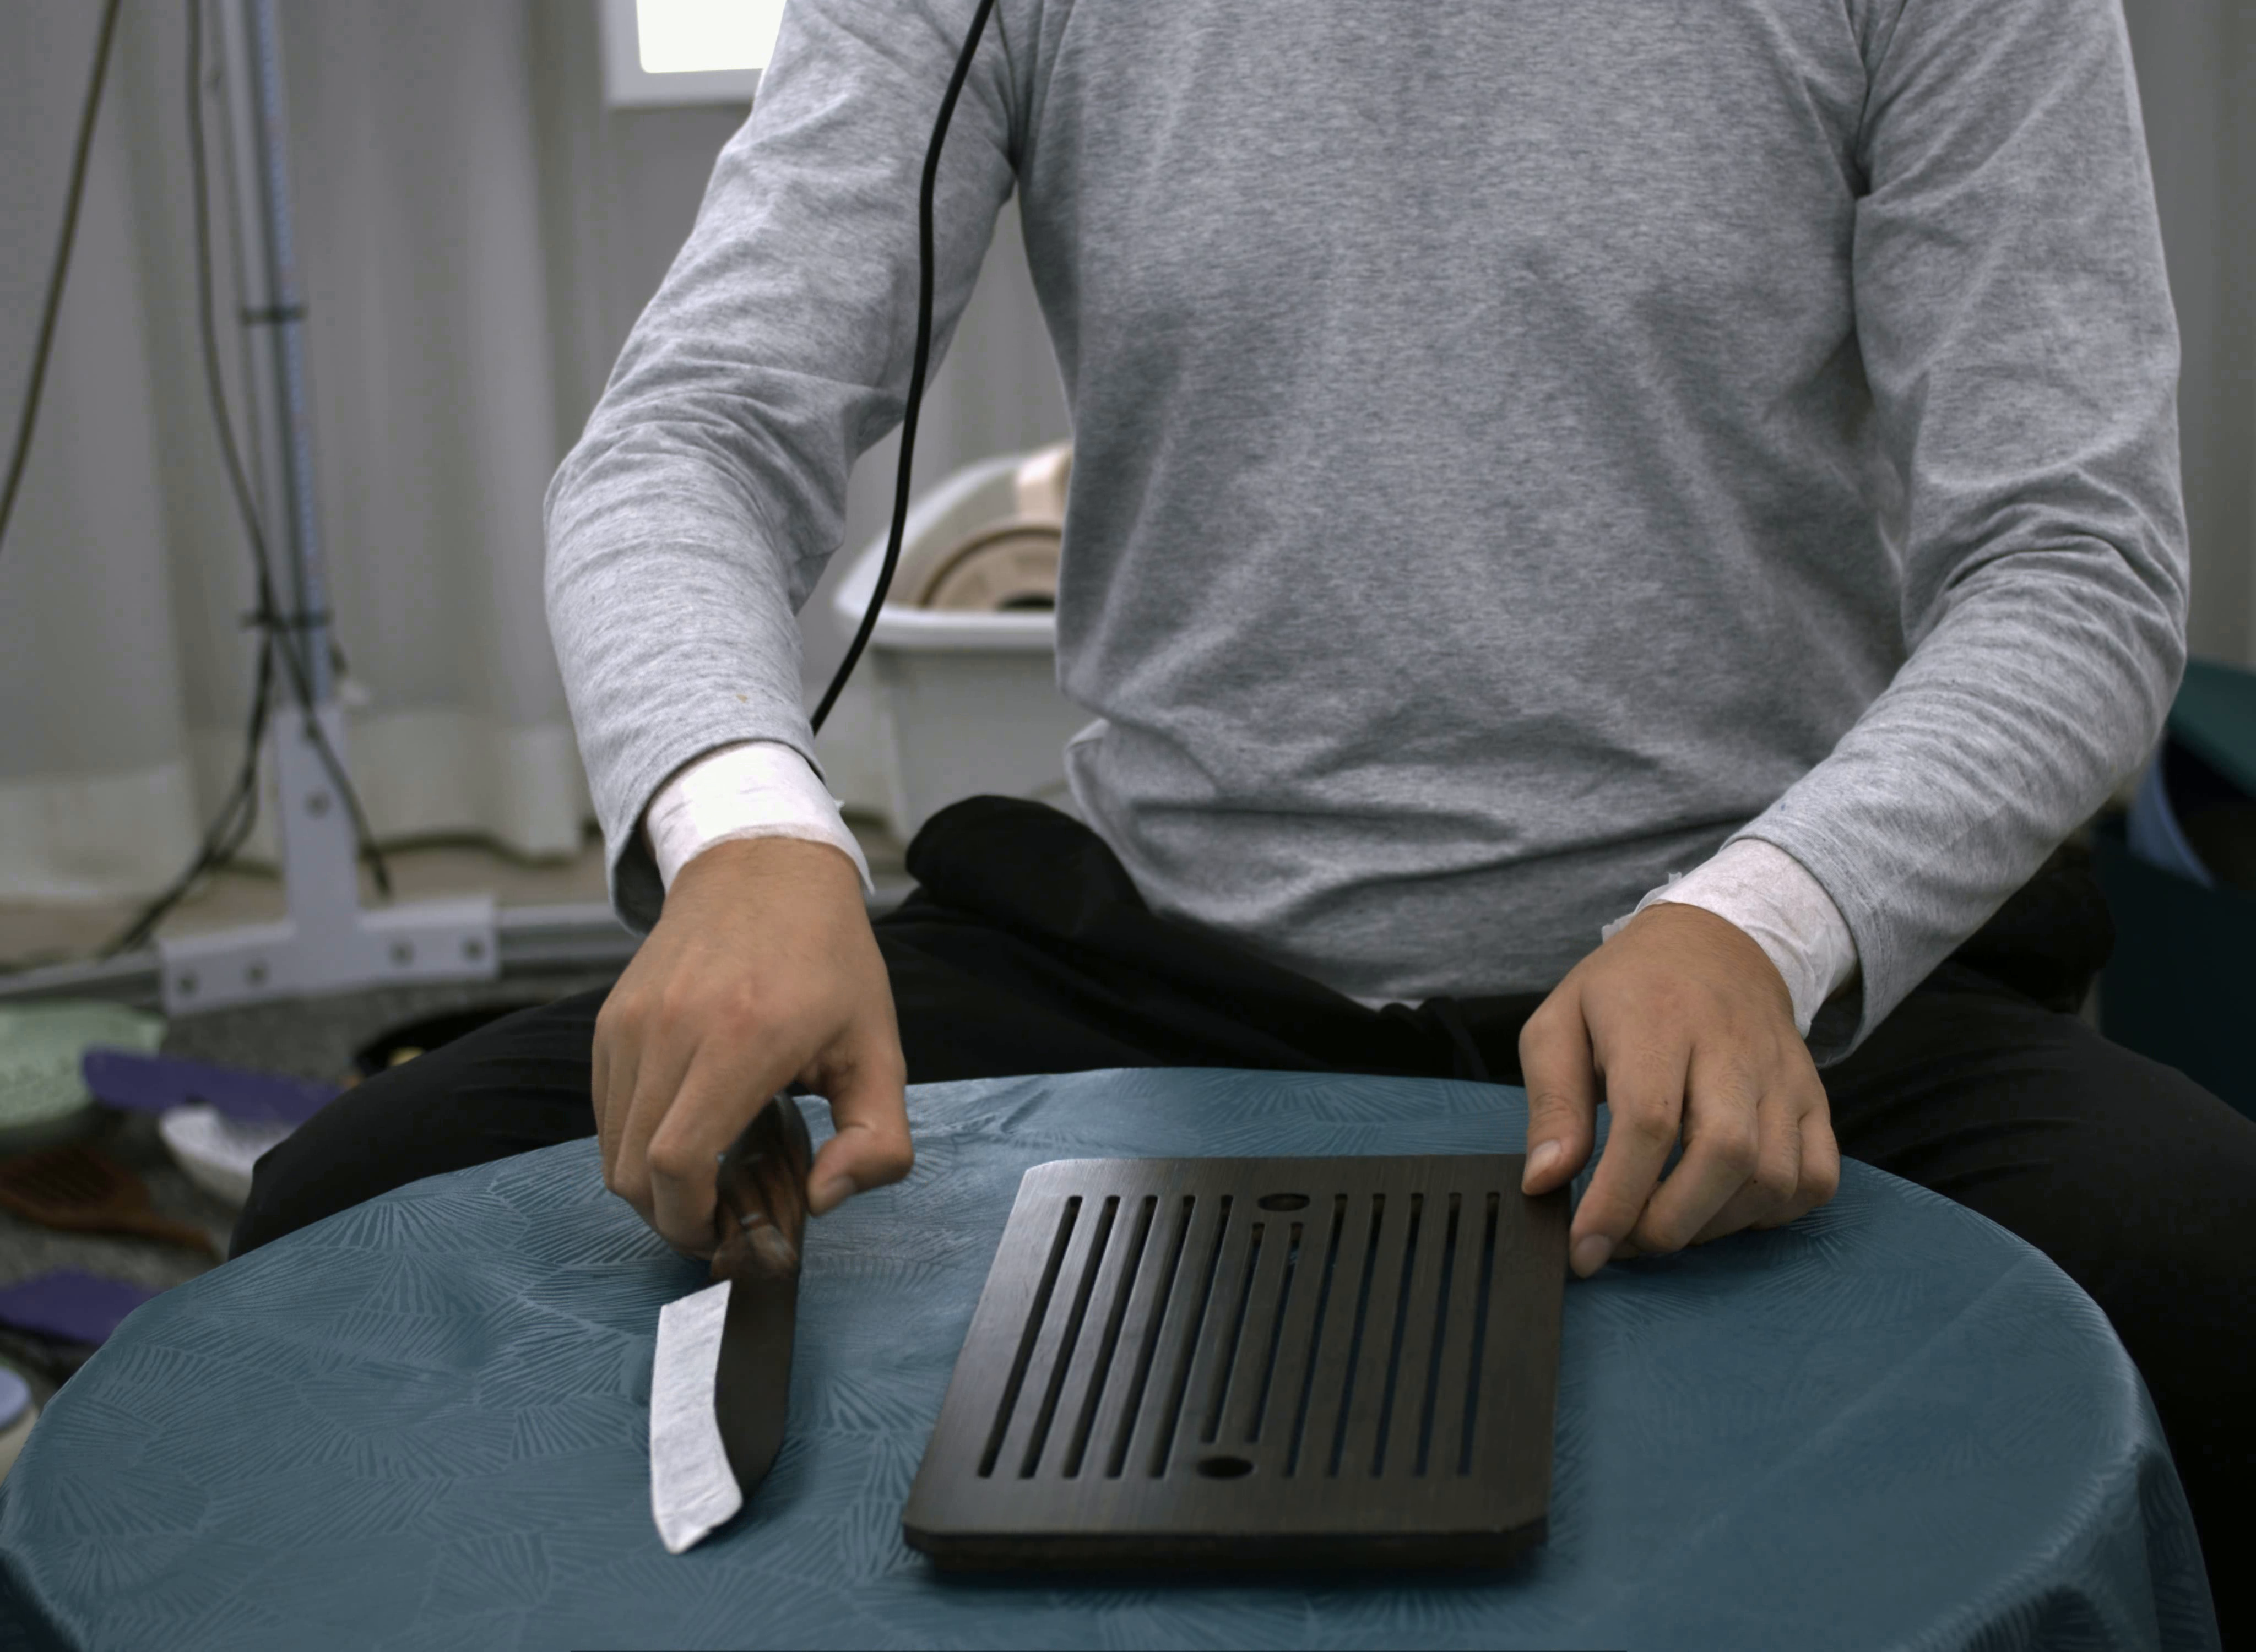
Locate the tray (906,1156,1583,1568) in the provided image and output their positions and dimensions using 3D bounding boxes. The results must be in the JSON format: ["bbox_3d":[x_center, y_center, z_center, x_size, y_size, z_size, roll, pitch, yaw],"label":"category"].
[{"bbox_3d":[0.041,0.149,1.546,0.170,0.018,0.307,-1,14,7],"label":"tray"}]

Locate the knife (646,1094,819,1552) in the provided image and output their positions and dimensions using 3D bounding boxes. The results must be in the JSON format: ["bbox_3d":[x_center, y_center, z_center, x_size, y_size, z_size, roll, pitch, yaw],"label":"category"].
[{"bbox_3d":[-0.113,0.141,1.579,0.050,0.020,0.291,-20,18,8],"label":"knife"}]
